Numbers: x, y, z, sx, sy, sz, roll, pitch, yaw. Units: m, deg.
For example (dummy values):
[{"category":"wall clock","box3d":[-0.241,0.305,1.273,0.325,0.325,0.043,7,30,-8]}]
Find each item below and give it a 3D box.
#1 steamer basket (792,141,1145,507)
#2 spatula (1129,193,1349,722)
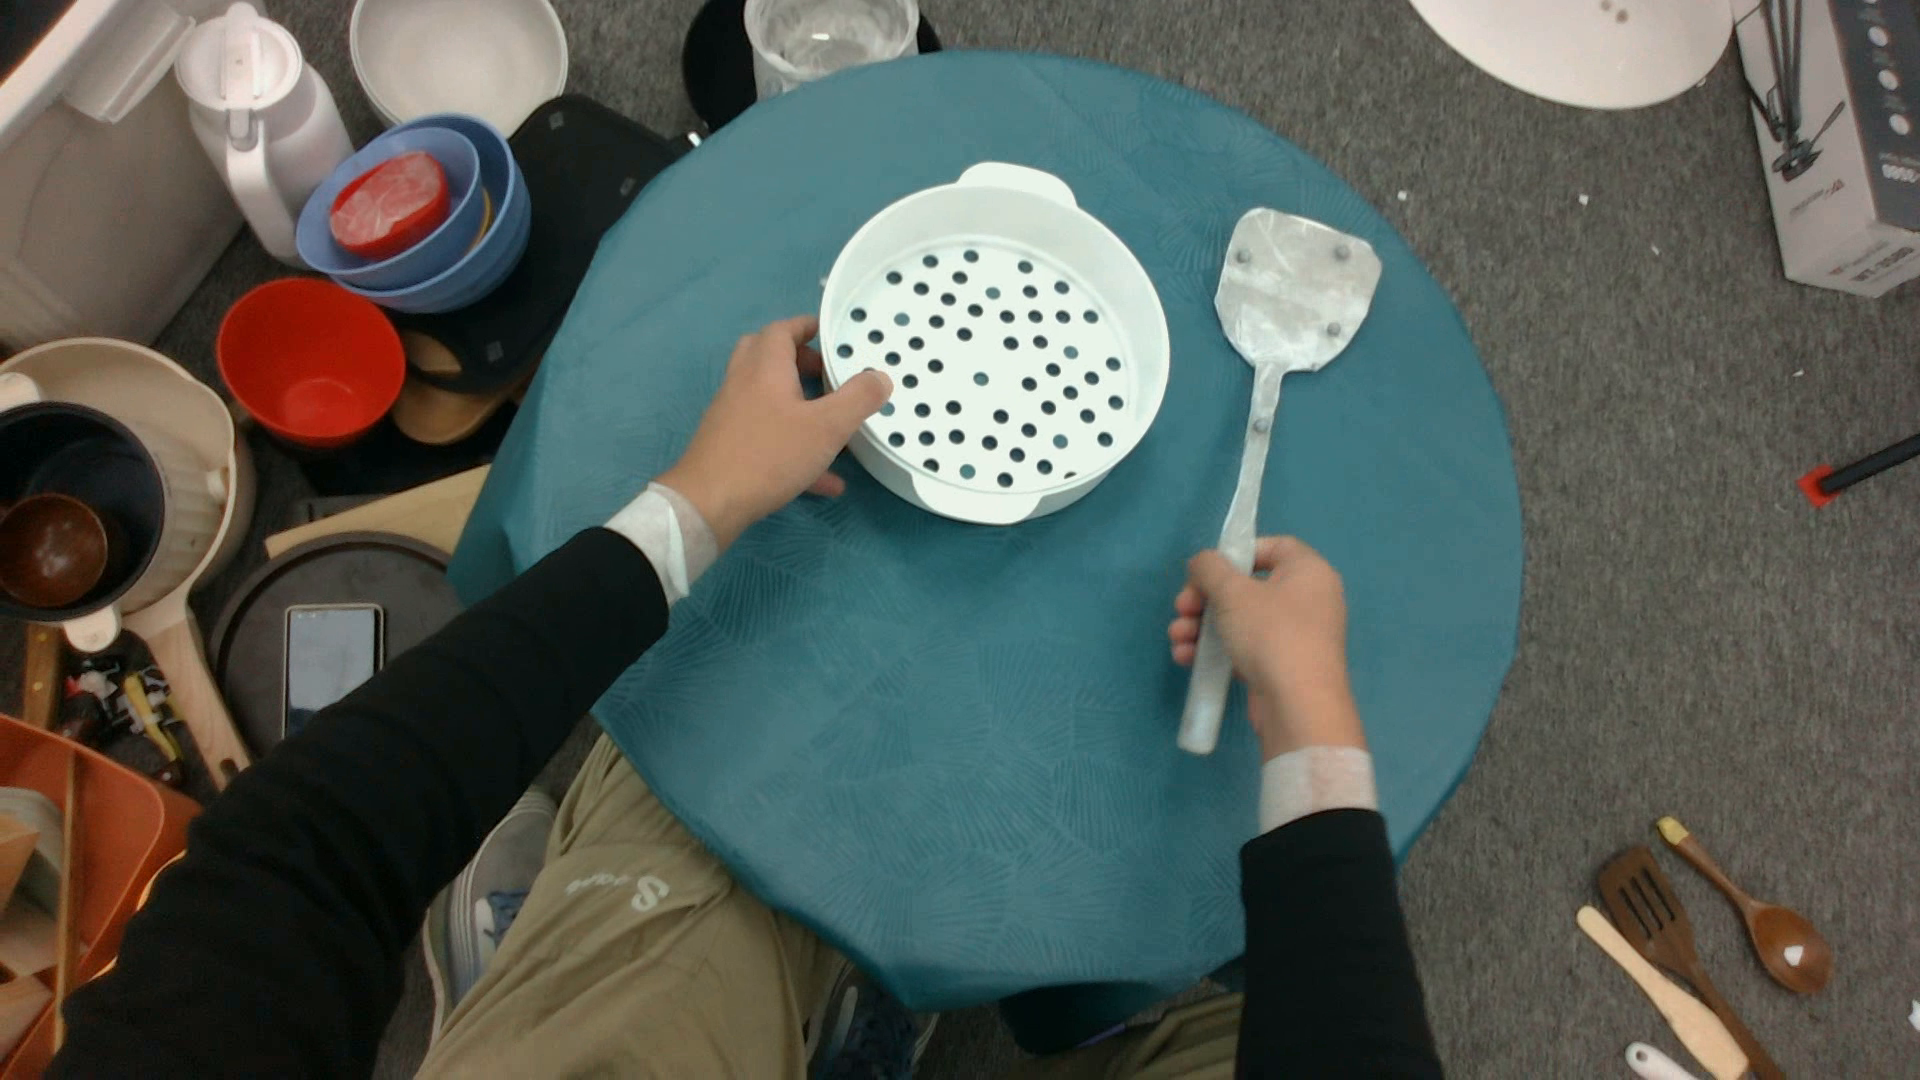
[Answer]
[{"category":"steamer basket","box3d":[0.003,-0.119,0.804,0.202,0.069,0.231,10,70,-6]},{"category":"spatula","box3d":[0.155,-0.057,0.810,0.099,0.044,0.366,20,59,-3]}]
